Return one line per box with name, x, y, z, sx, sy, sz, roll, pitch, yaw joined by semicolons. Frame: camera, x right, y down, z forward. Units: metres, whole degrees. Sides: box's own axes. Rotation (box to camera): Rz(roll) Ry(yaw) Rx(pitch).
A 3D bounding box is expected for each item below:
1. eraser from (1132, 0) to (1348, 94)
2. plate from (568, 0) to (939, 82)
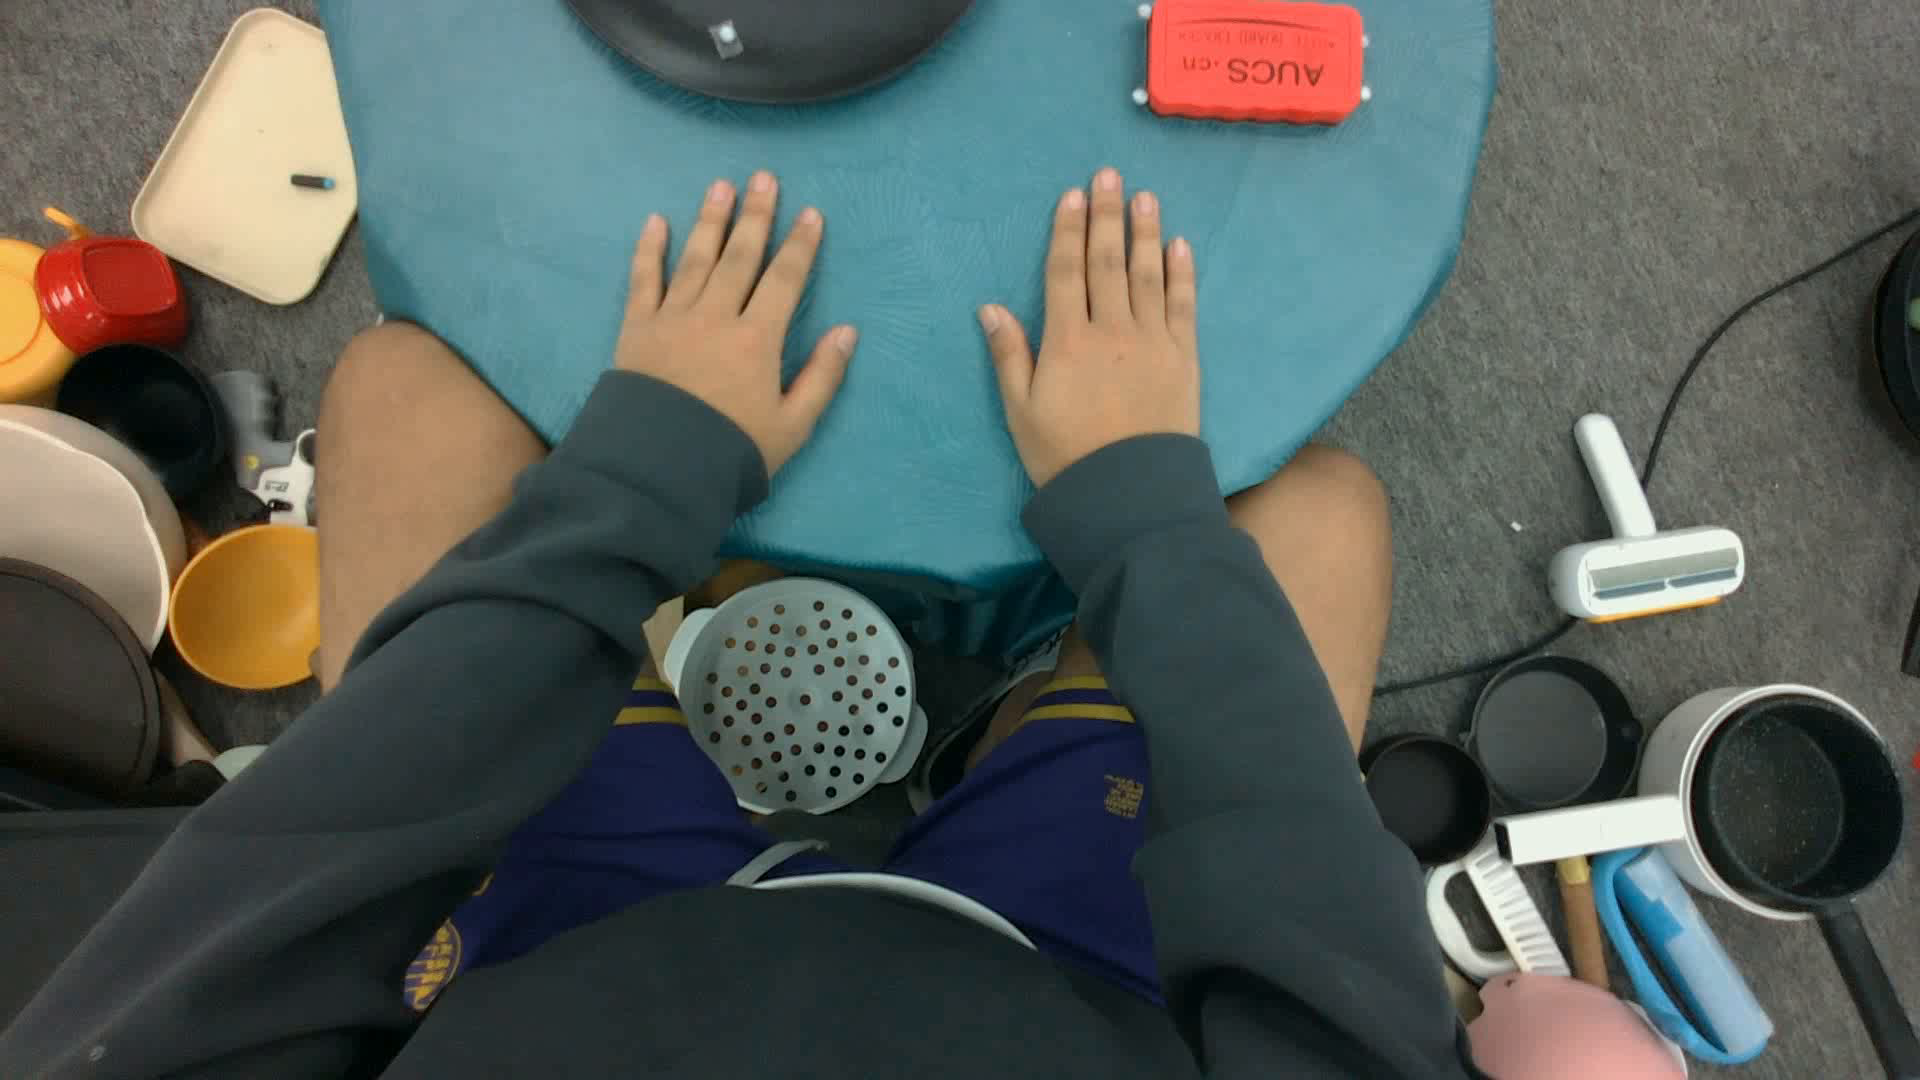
eraser;0.142;-0.260;0.703;0.108;0.023;0.059;1;85;-4
plate;-0.103;-0.344;0.688;0.244;0.023;0.244;0;86;-6
